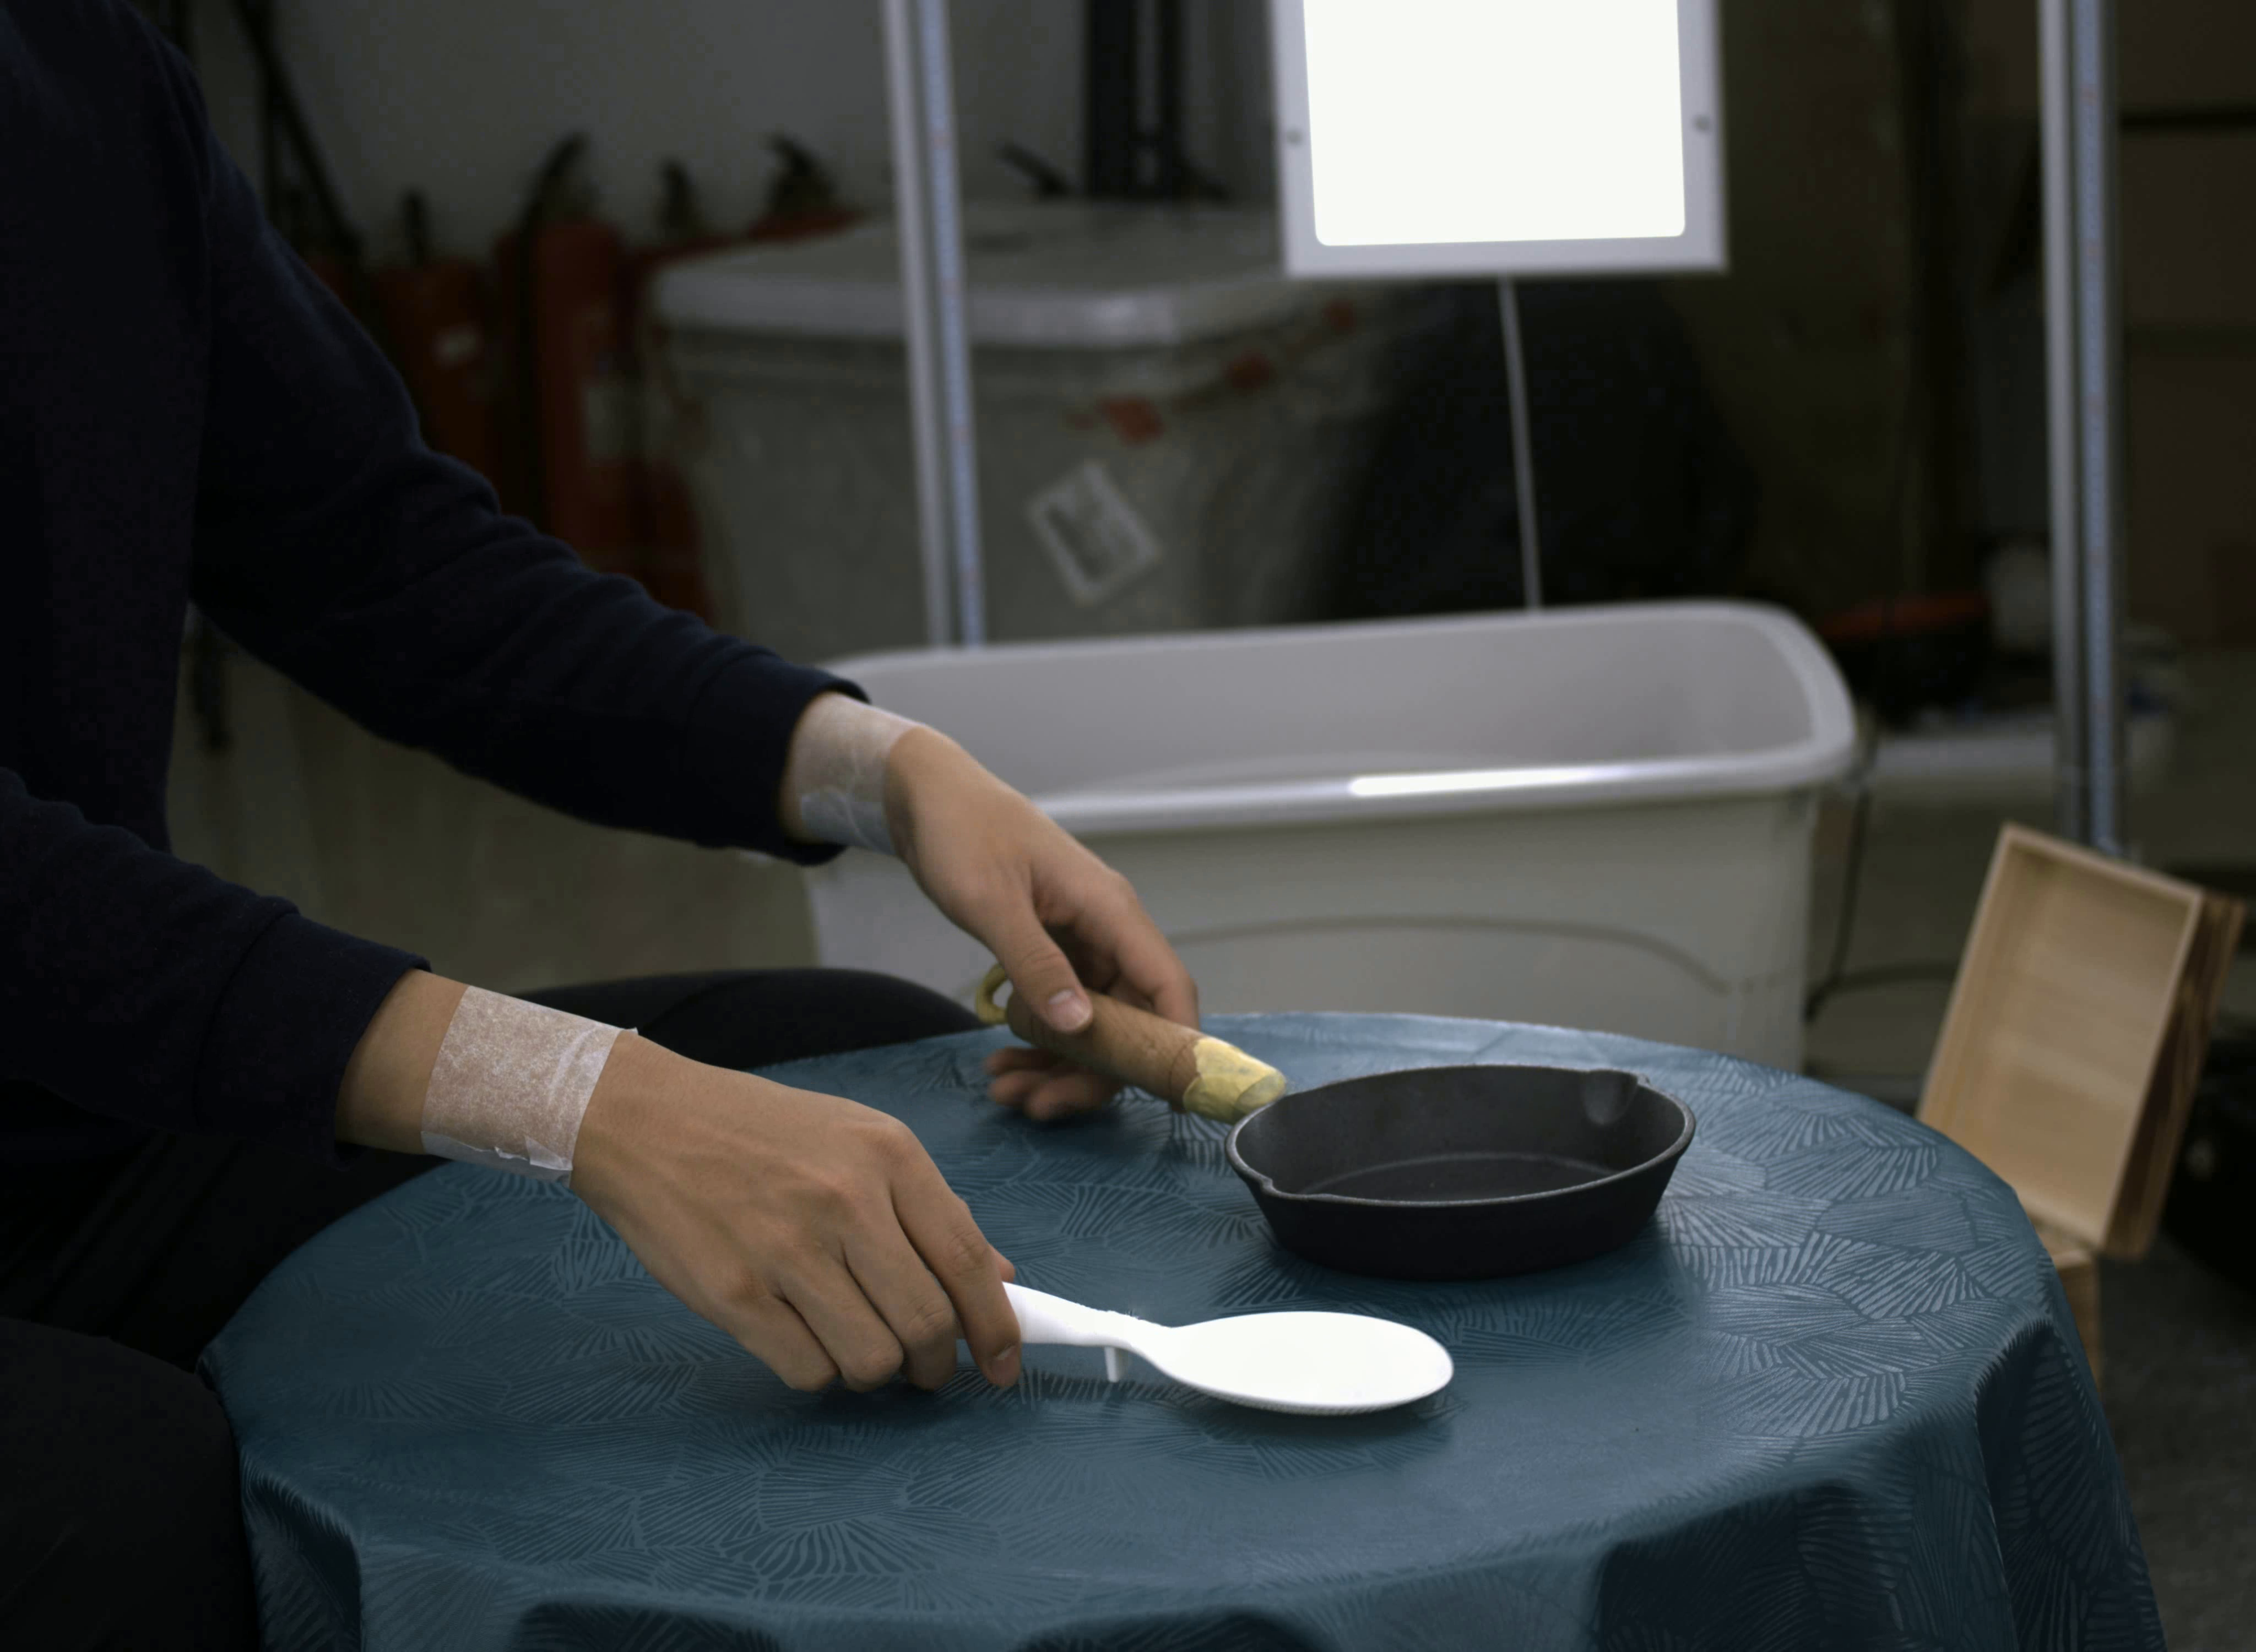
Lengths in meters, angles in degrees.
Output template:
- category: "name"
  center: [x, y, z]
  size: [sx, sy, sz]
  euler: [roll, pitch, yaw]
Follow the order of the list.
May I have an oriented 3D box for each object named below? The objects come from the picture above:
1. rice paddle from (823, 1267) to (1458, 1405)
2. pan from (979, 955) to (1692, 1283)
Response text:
- category: "rice paddle"
  center: [0.004, 0.158, 1.703]
  size: [0.208, 0.029, 0.067]
  euler: [2, 18, 23]
- category: "pan"
  center: [0.057, 0.096, 1.895]
  size: [0.165, 0.050, 0.331]
  euler: [-16, 19, -36]
